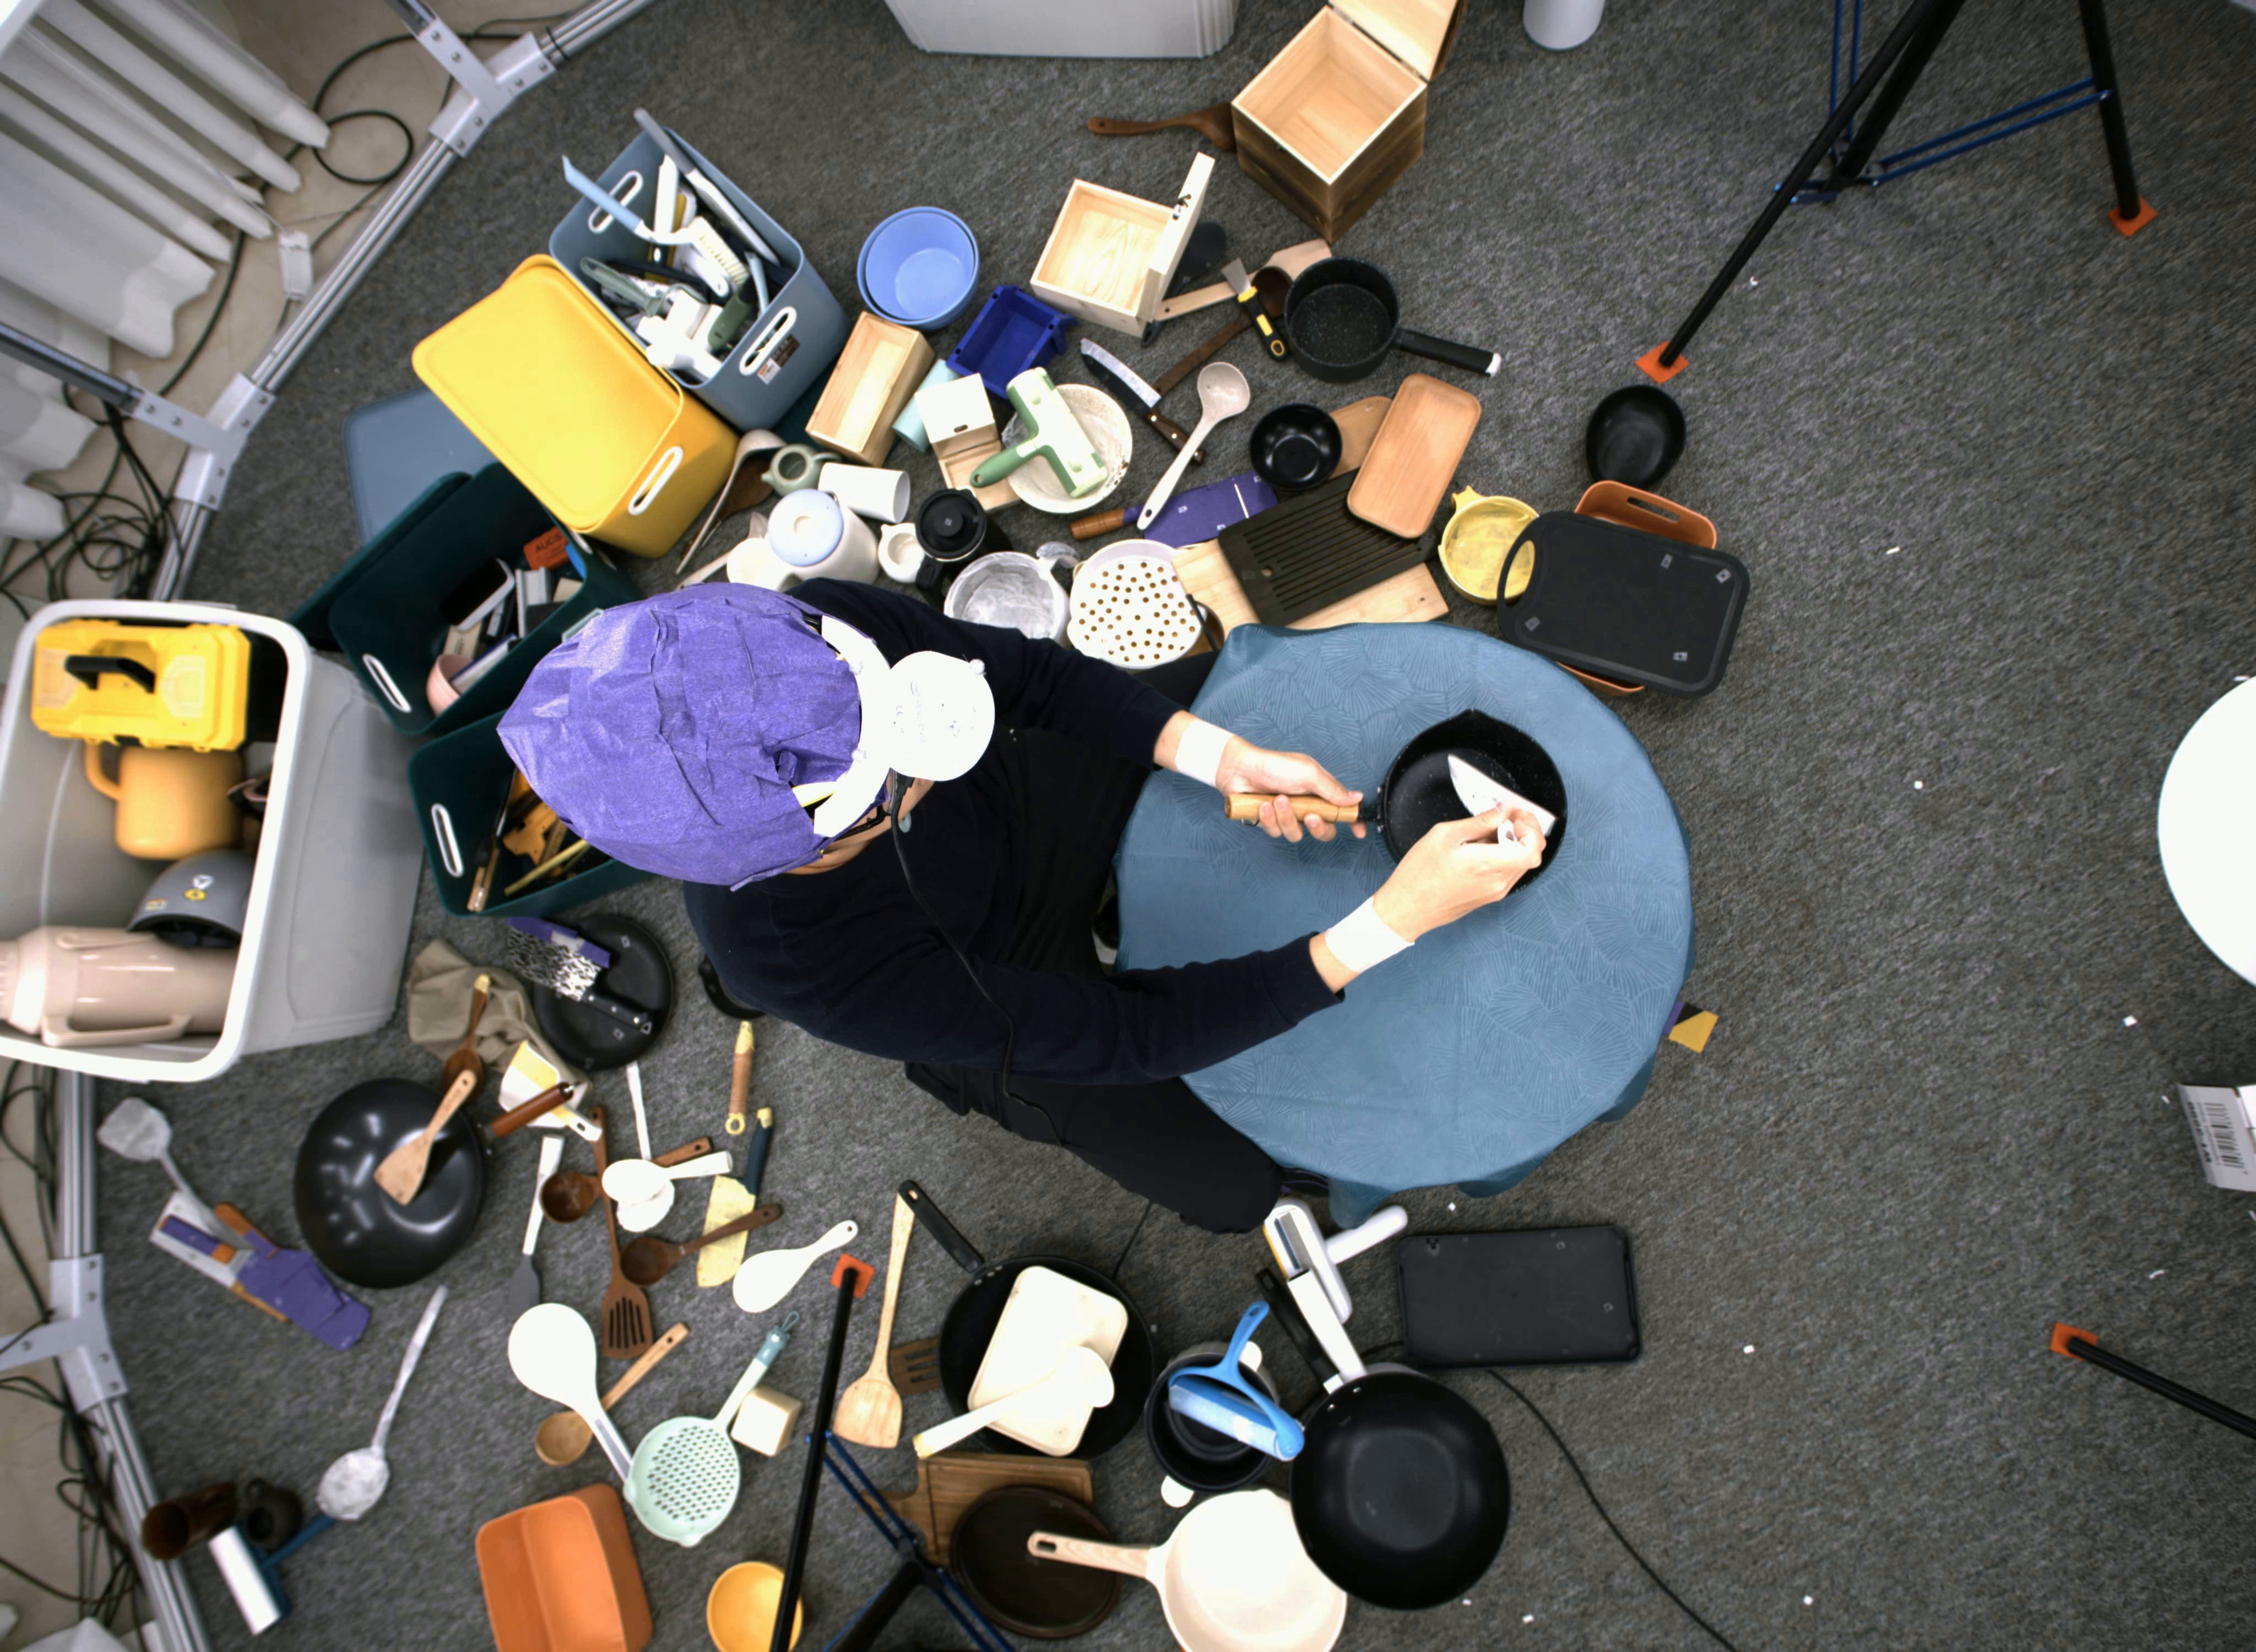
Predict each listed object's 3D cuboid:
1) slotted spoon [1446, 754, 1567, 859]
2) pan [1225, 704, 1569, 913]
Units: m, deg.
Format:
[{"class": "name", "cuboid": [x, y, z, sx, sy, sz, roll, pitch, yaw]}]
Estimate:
[{"class": "slotted spoon", "cuboid": [0.342, -0.012, 1.244, 0.136, 0.345, 0.051, 33, 98, 7]}, {"class": "pan", "cuboid": [0.264, -0.015, 1.387, 0.343, 0.108, 0.207, -1, 87, -1]}]
